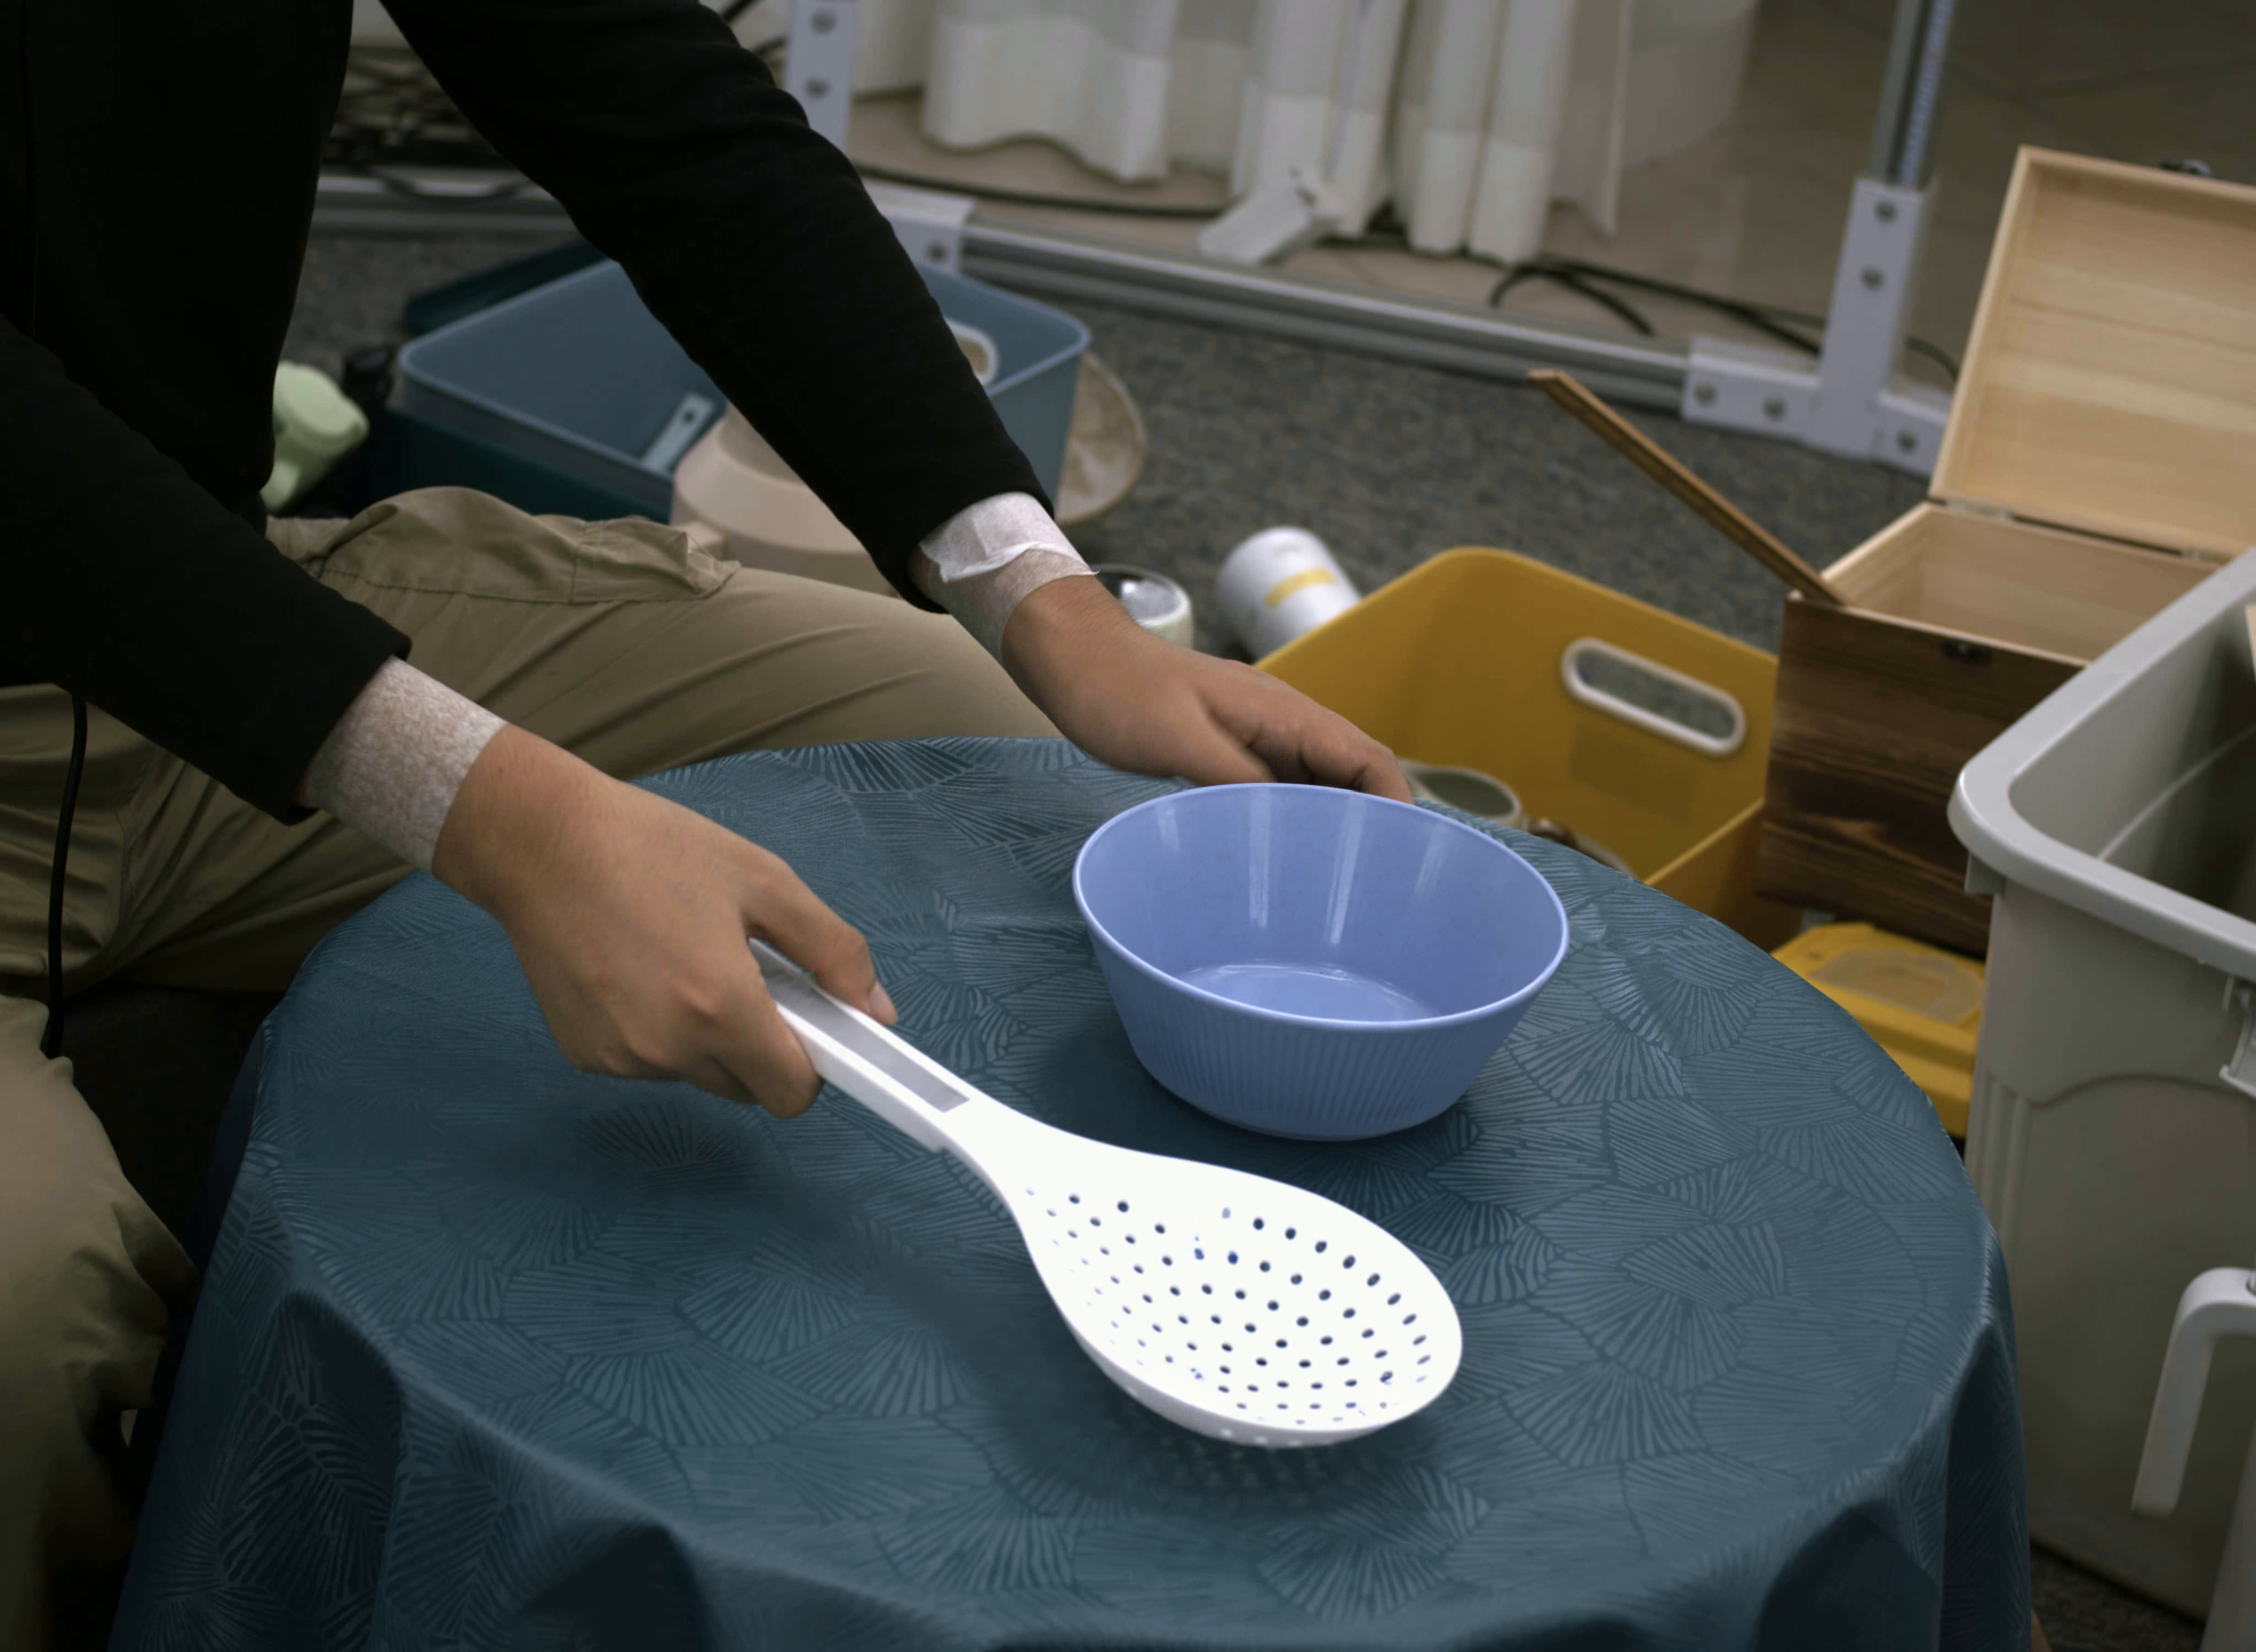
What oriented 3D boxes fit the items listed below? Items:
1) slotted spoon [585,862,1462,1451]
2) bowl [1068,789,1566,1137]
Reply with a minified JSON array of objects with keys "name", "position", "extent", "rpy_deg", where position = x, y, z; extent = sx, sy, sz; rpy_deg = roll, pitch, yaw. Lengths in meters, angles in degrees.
[{"name":"slotted spoon","position":[-0.045,0.103,1.726],"extent":[0.352,0.045,0.135],"rpy_deg":[36,36,24]},{"name":"bowl","position":[0.063,0.054,1.877],"extent":[0.175,0.070,0.177],"rpy_deg":[4,26,-2]}]
